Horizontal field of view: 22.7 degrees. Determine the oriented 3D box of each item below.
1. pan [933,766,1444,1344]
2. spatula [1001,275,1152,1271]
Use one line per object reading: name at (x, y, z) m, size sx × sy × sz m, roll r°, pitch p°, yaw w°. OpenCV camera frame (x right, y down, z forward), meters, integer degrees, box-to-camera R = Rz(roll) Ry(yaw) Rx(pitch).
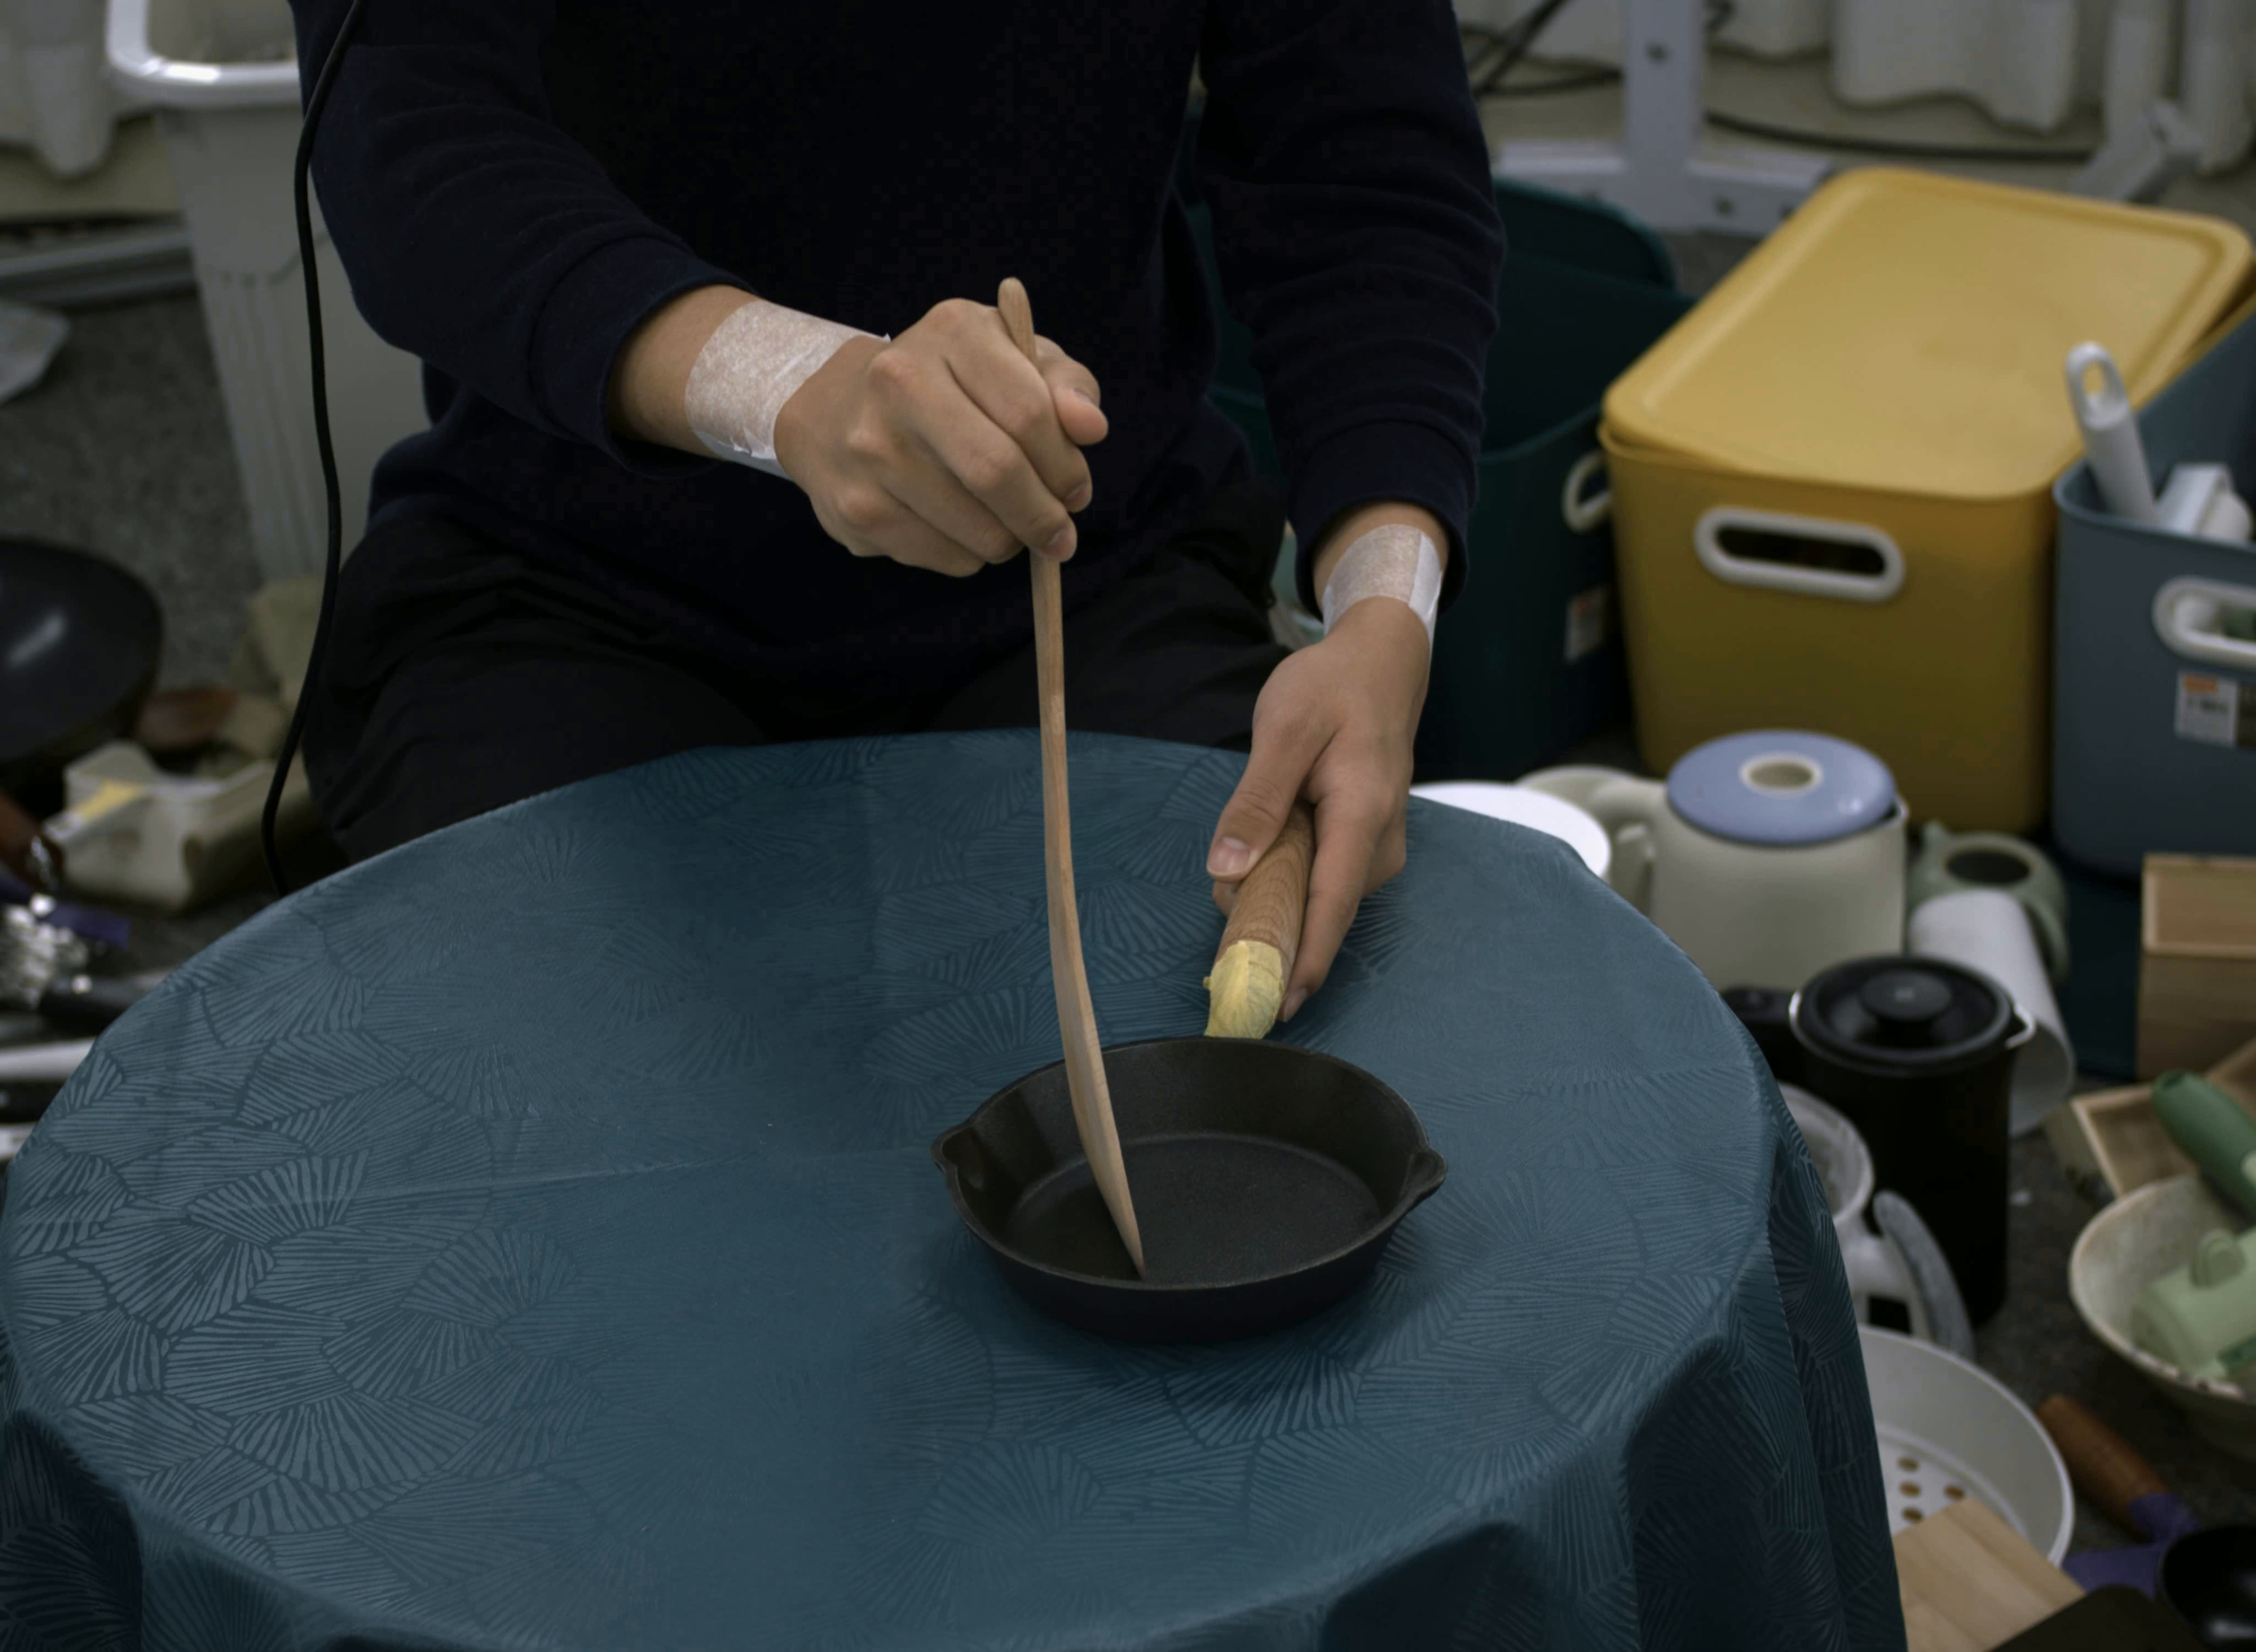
pan at (0.037, 0.074, 1.896) m, size 0.168 × 0.049 × 0.330 m, roll 3°, pitch 29°, yaw 12°
spatula at (-0.019, -0.015, 1.785) m, size 0.016 × 0.326 × 0.080 m, roll -8°, pitch 17°, yaw -11°
